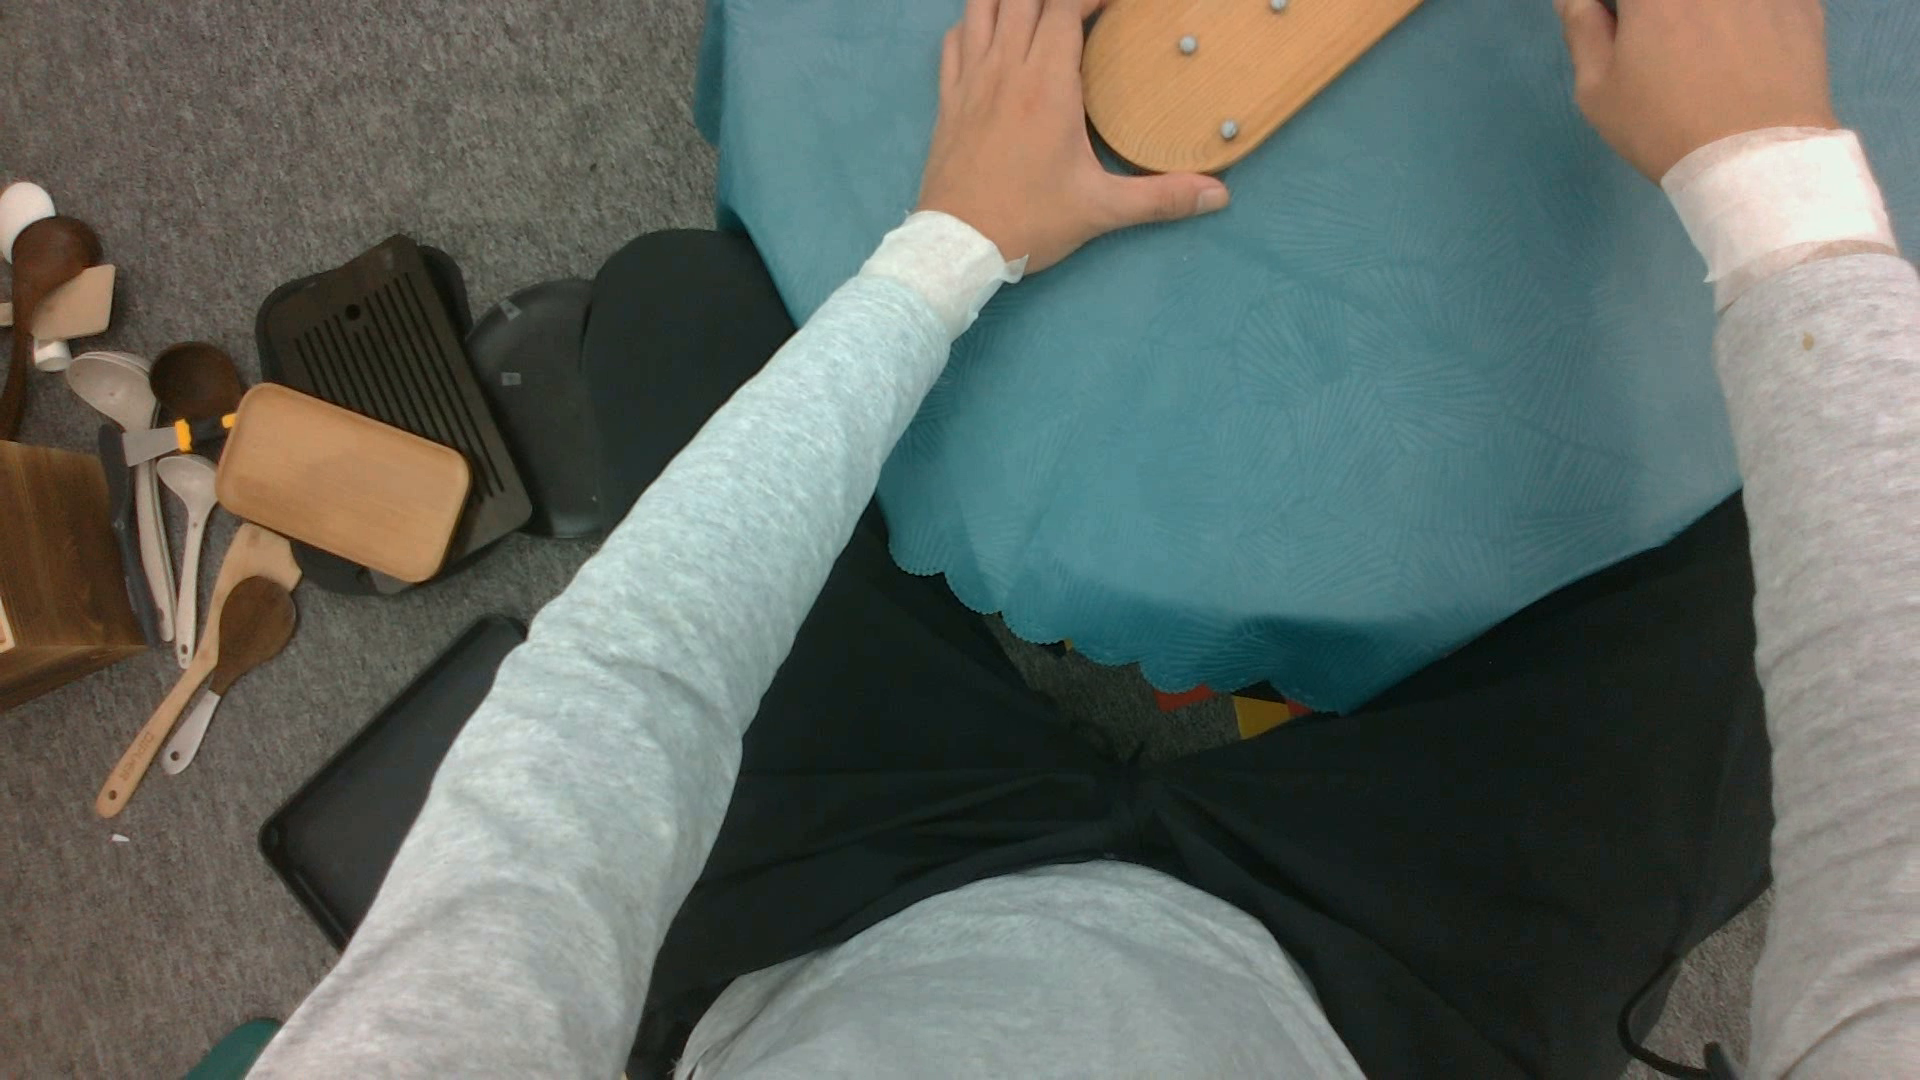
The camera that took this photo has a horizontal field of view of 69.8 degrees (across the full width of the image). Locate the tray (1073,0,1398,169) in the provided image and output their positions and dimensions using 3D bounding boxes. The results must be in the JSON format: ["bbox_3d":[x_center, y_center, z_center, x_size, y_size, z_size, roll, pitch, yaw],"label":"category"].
[{"bbox_3d":[0.154,-0.275,0.669,0.231,0.020,0.102,-43,83,1],"label":"tray"}]

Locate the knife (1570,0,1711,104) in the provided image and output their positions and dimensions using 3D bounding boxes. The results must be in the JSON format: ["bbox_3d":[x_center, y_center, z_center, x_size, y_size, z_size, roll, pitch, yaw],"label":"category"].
[{"bbox_3d":[0.242,-0.276,0.601,0.024,0.016,0.238,-49,63,35],"label":"knife"}]
